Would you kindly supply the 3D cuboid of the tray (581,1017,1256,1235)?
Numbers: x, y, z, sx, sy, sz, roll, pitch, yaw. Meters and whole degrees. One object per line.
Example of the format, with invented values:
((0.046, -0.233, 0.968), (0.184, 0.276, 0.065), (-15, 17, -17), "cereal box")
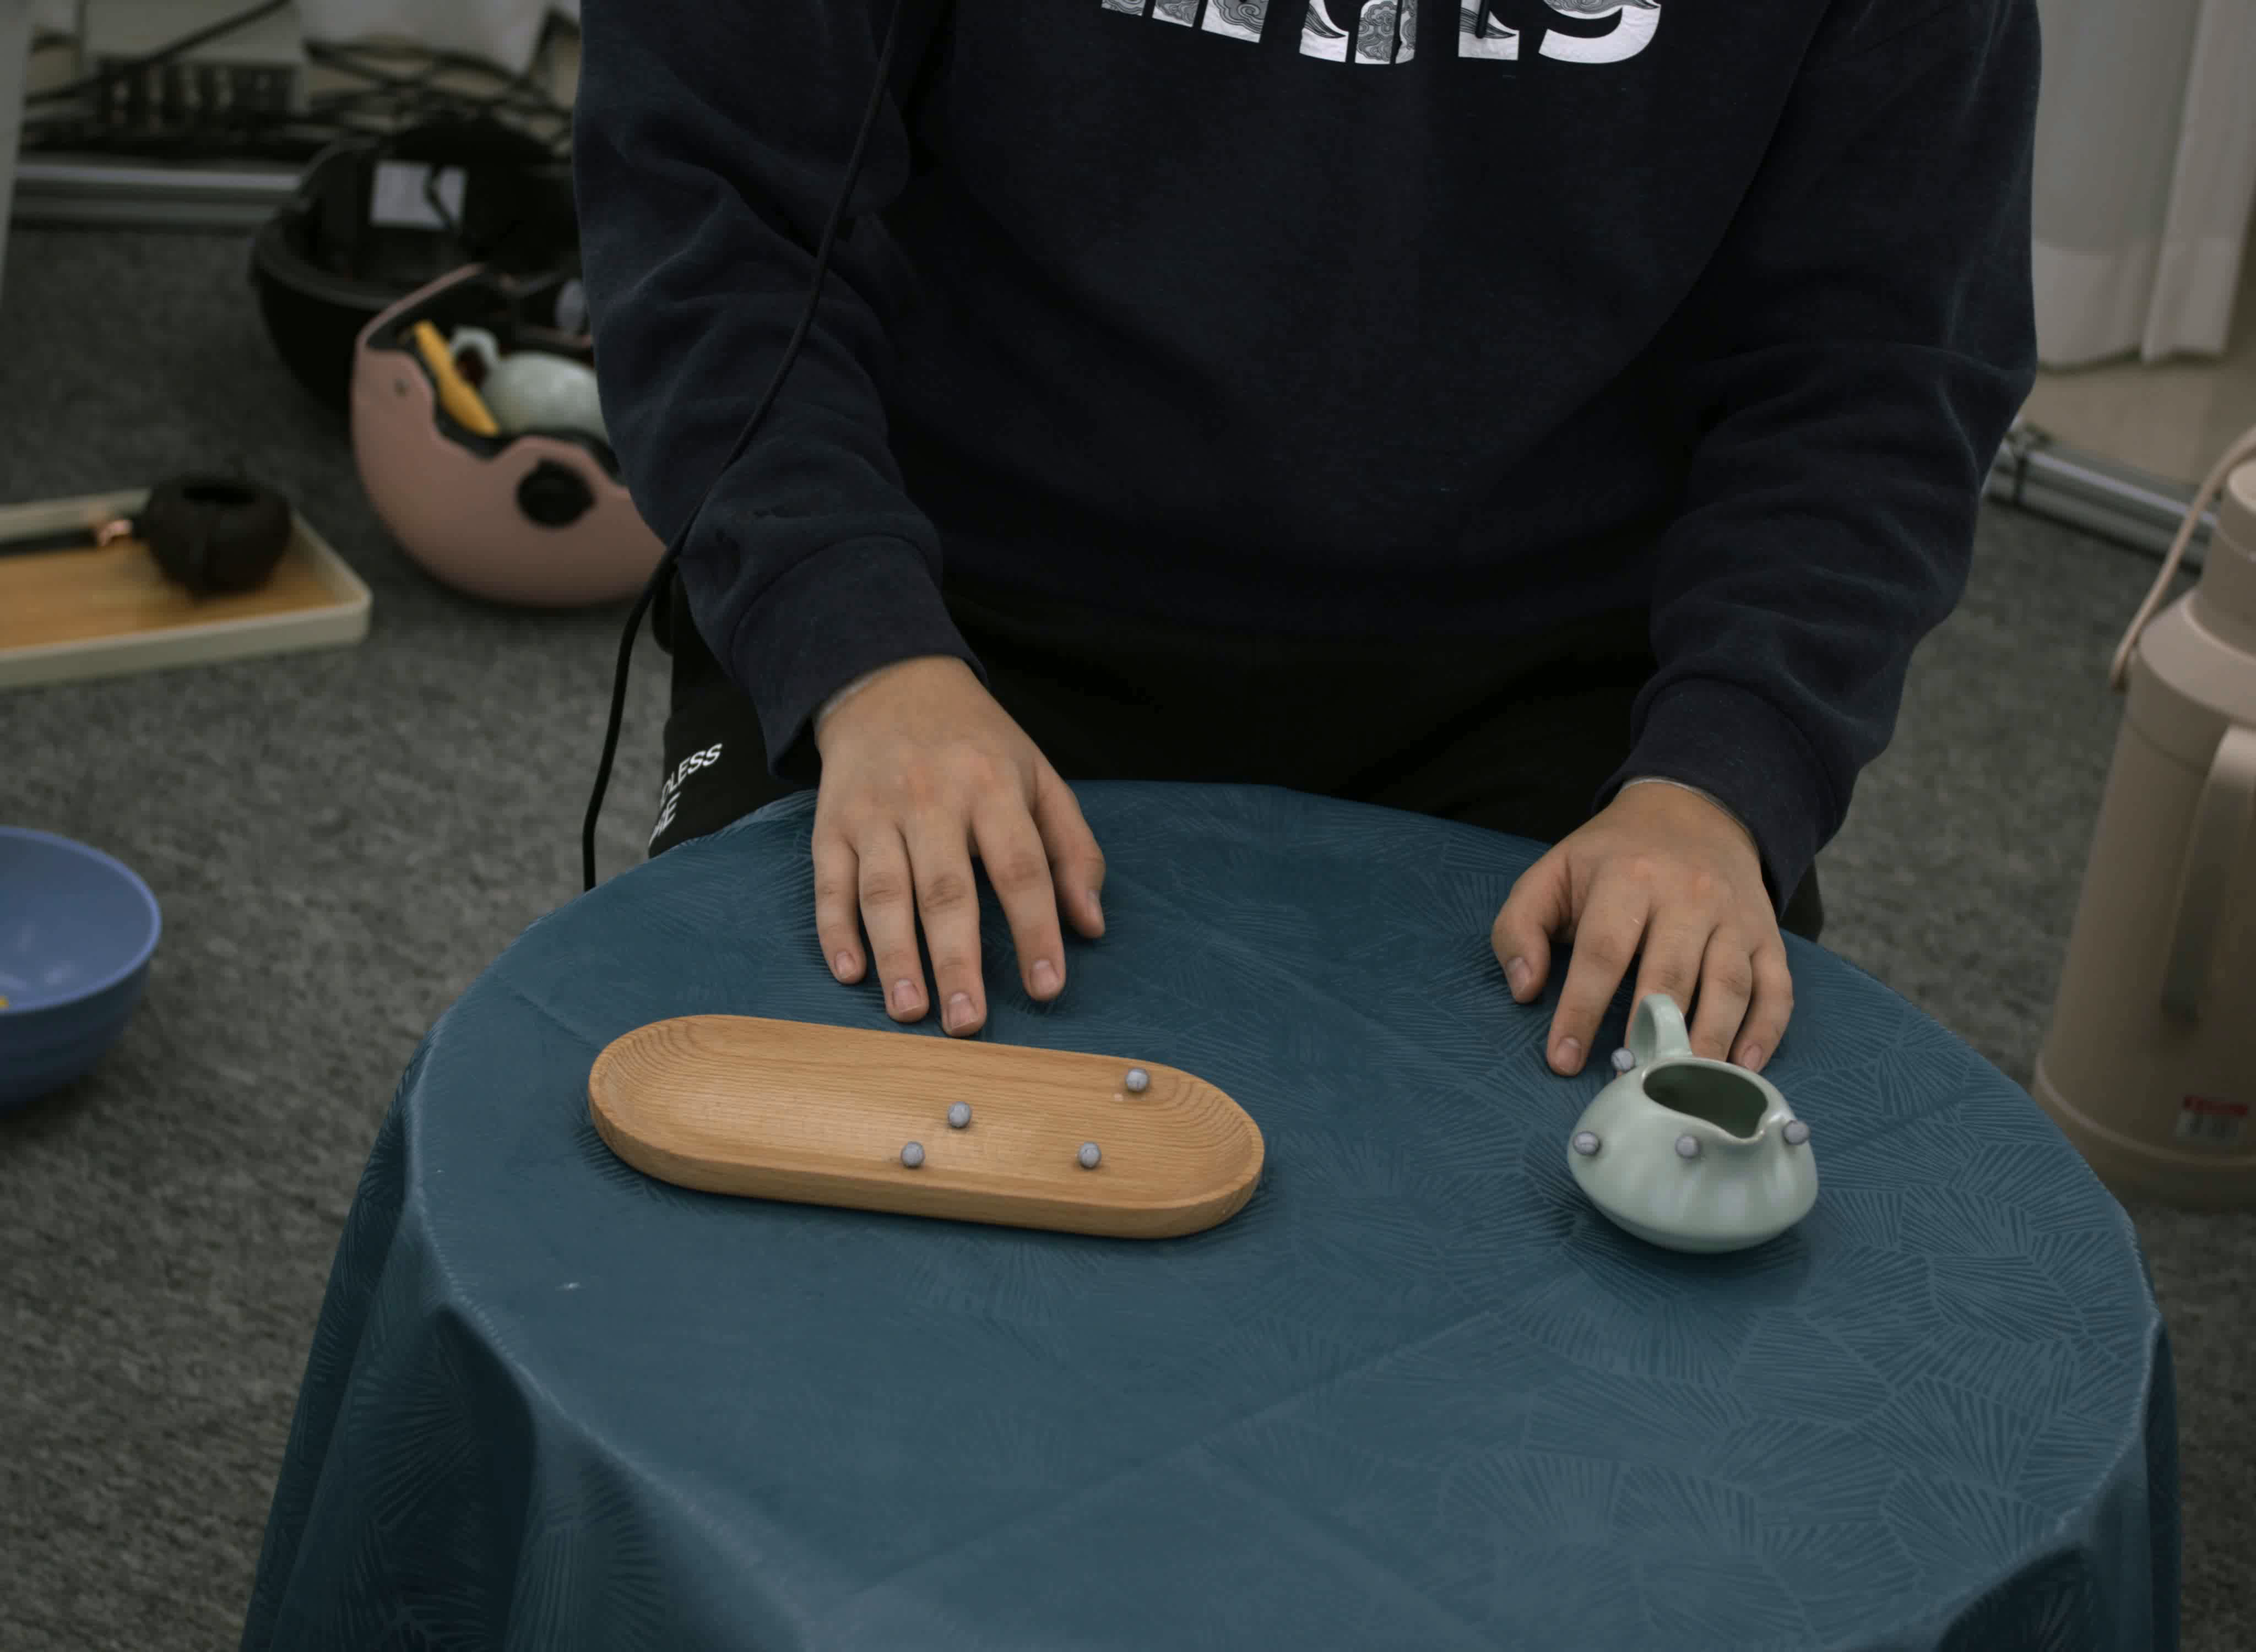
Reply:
((-0.071, 0.103, 1.813), (0.230, 0.020, 0.102), (5, 26, -1), "tray")

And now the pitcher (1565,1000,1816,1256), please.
((0.190, 0.105, 1.827), (0.085, 0.060, 0.109), (0, 25, -16), "pitcher")
